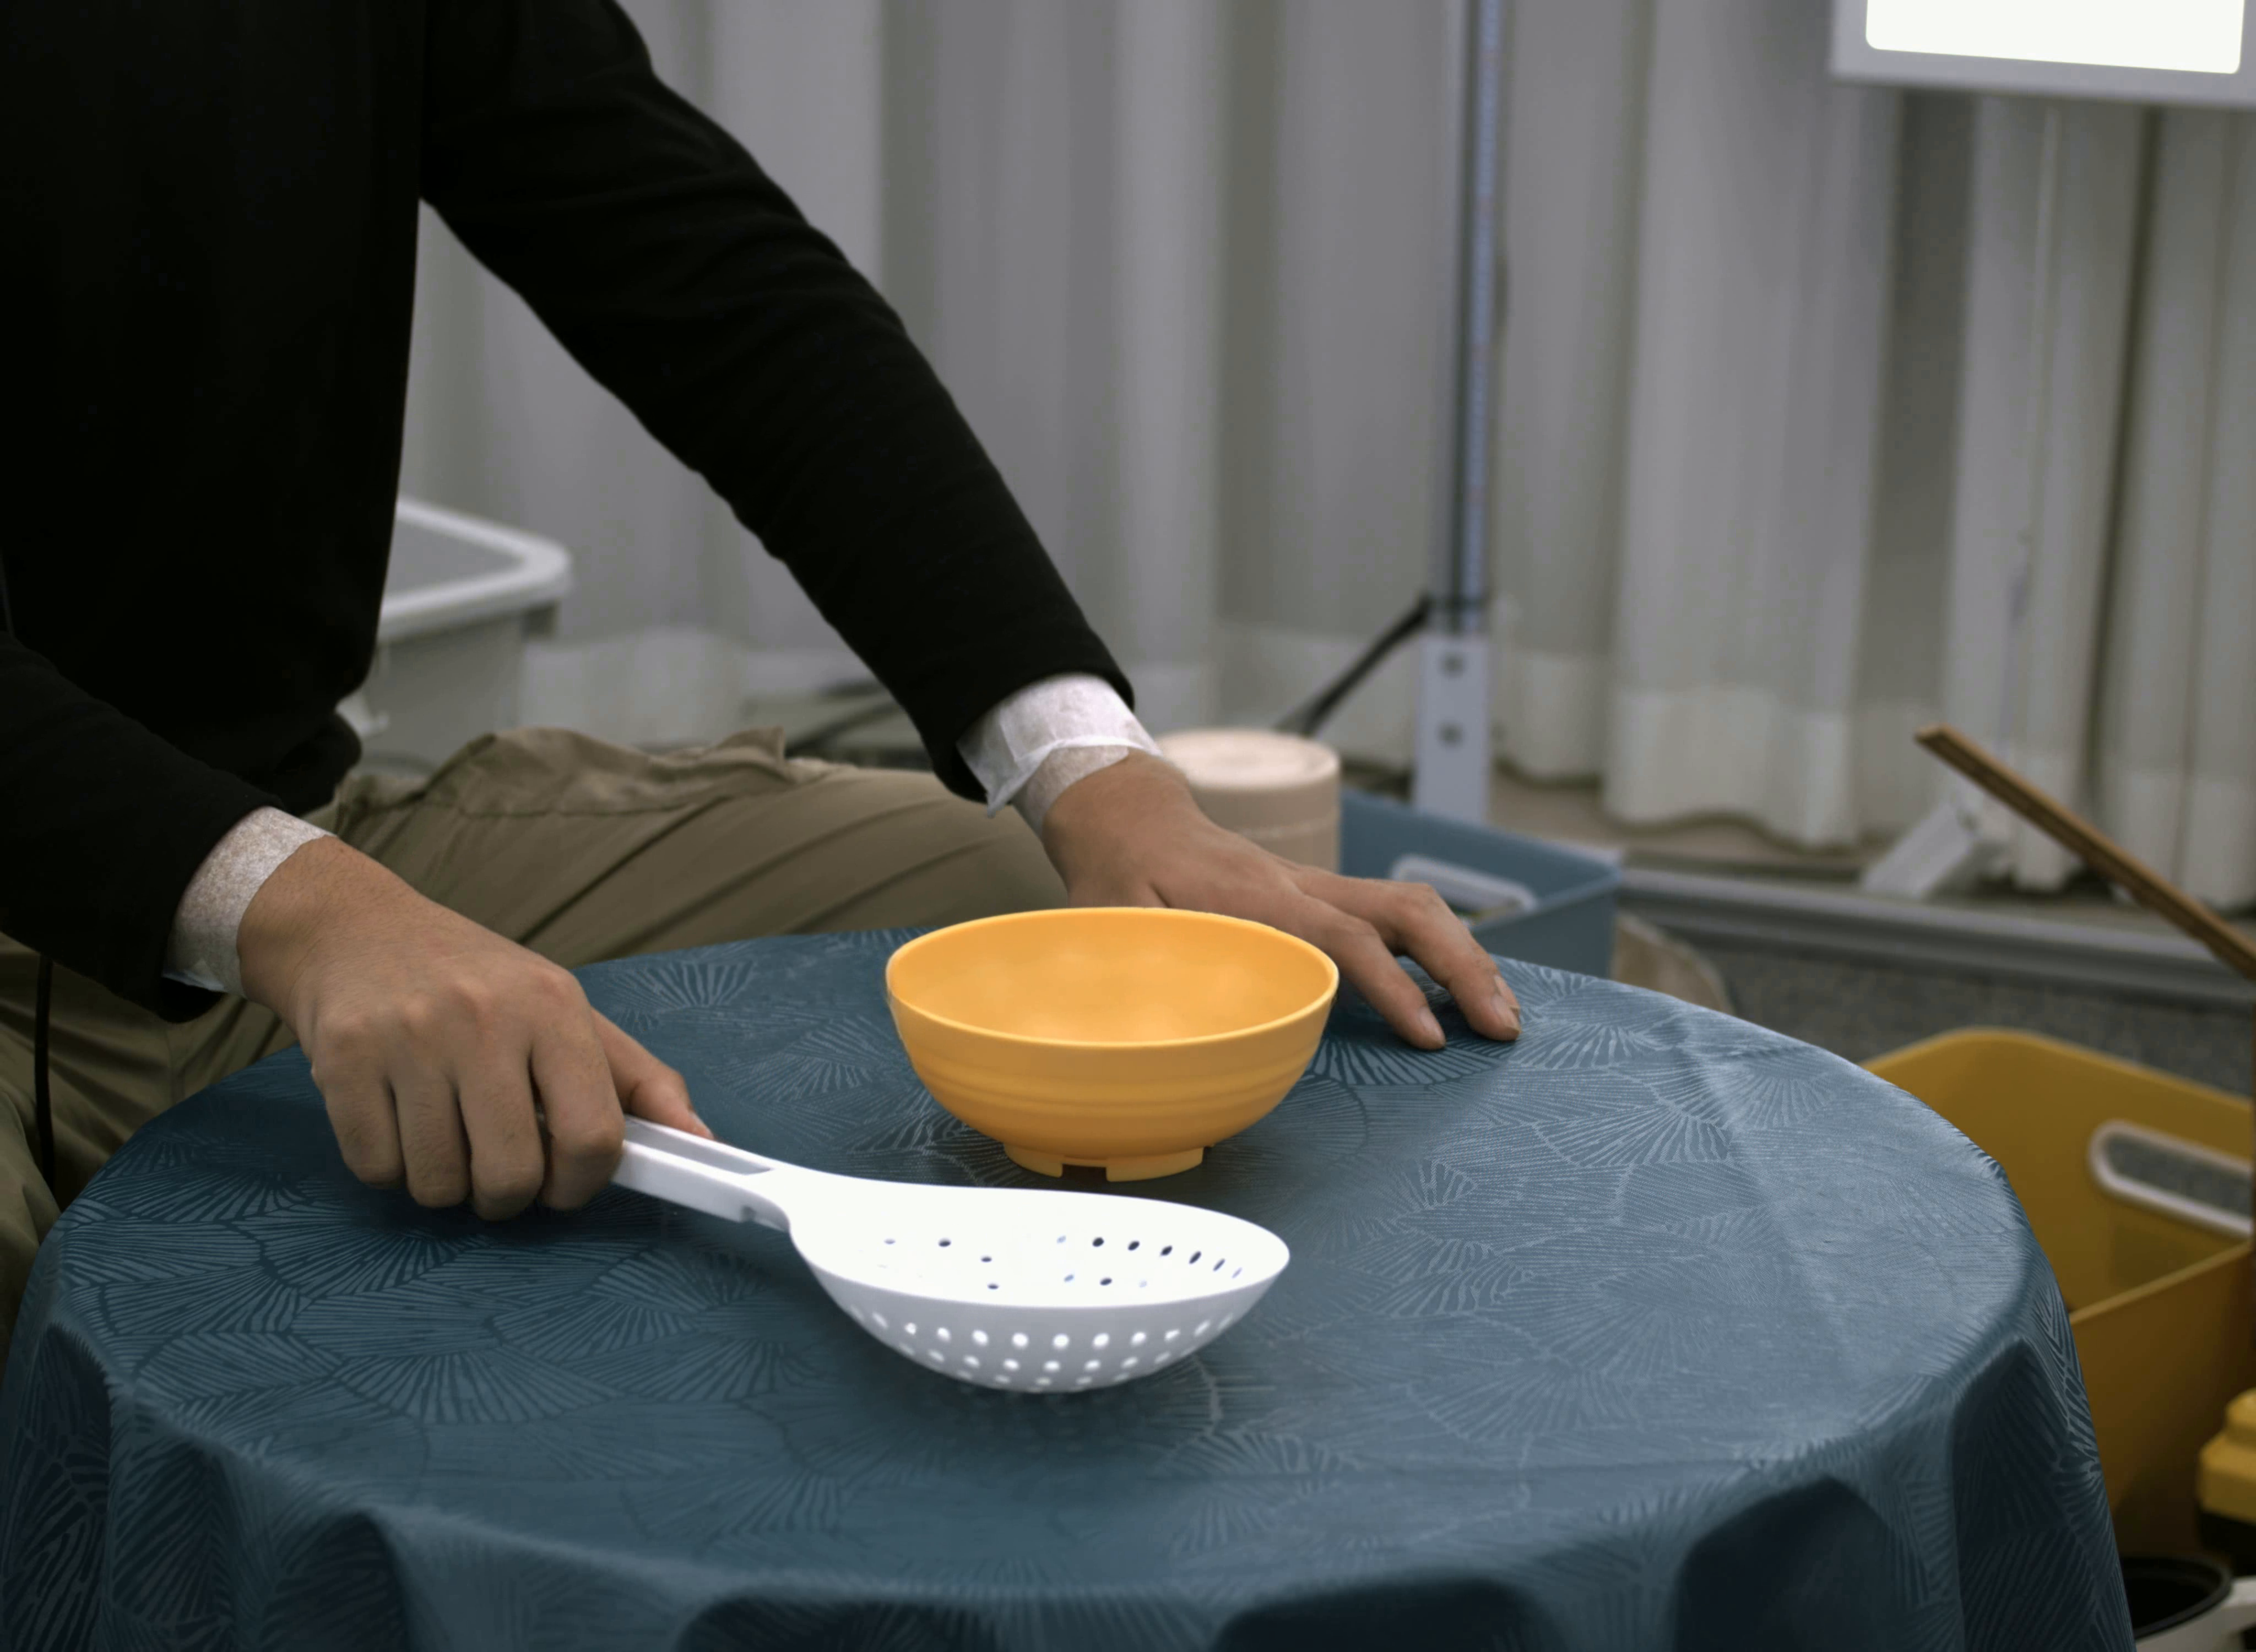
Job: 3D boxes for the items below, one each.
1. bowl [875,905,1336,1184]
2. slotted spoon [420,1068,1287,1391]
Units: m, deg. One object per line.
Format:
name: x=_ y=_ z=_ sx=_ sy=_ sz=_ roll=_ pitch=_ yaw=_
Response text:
bowl: x=-0.008 y=0.074 z=1.653 sx=0.145 sy=0.060 sz=0.144 roll=2 pitch=16 yaw=0
slotted spoon: x=-0.097 y=0.108 z=1.532 sx=0.137 sy=0.046 sz=0.345 roll=-7 pitch=17 yaw=-43
